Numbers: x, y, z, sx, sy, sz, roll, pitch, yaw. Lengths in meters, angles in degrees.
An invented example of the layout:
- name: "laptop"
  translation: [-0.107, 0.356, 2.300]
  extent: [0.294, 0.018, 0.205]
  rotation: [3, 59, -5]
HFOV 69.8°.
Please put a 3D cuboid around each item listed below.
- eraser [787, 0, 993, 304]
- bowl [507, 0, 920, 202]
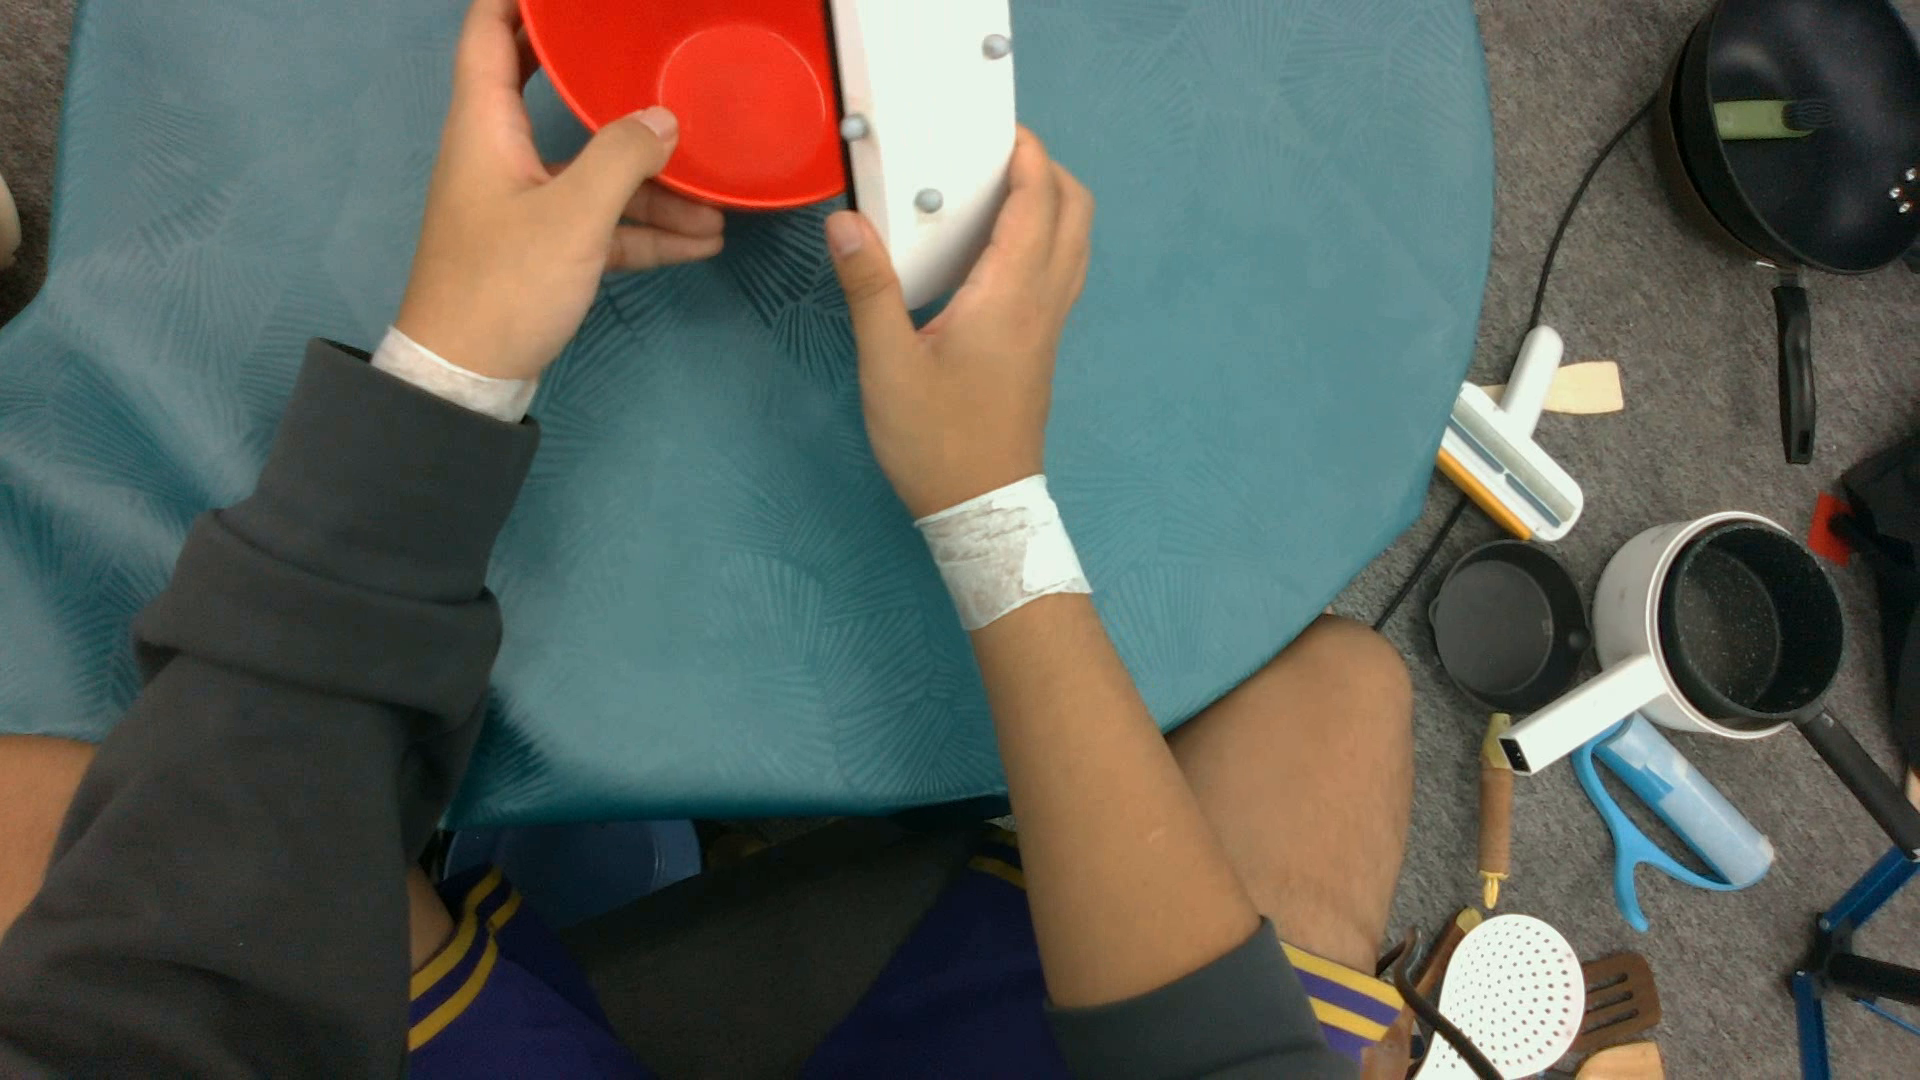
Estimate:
- name: "eraser"
  translation: [-0.022, -0.148, 0.478]
  extent: [0.063, 0.034, 0.131]
  rotation: [-34, 136, -29]
- name: "bowl"
  translation: [-0.093, -0.190, 0.517]
  extent: [0.148, 0.104, 0.148]
  rotation: [2, 84, -17]
